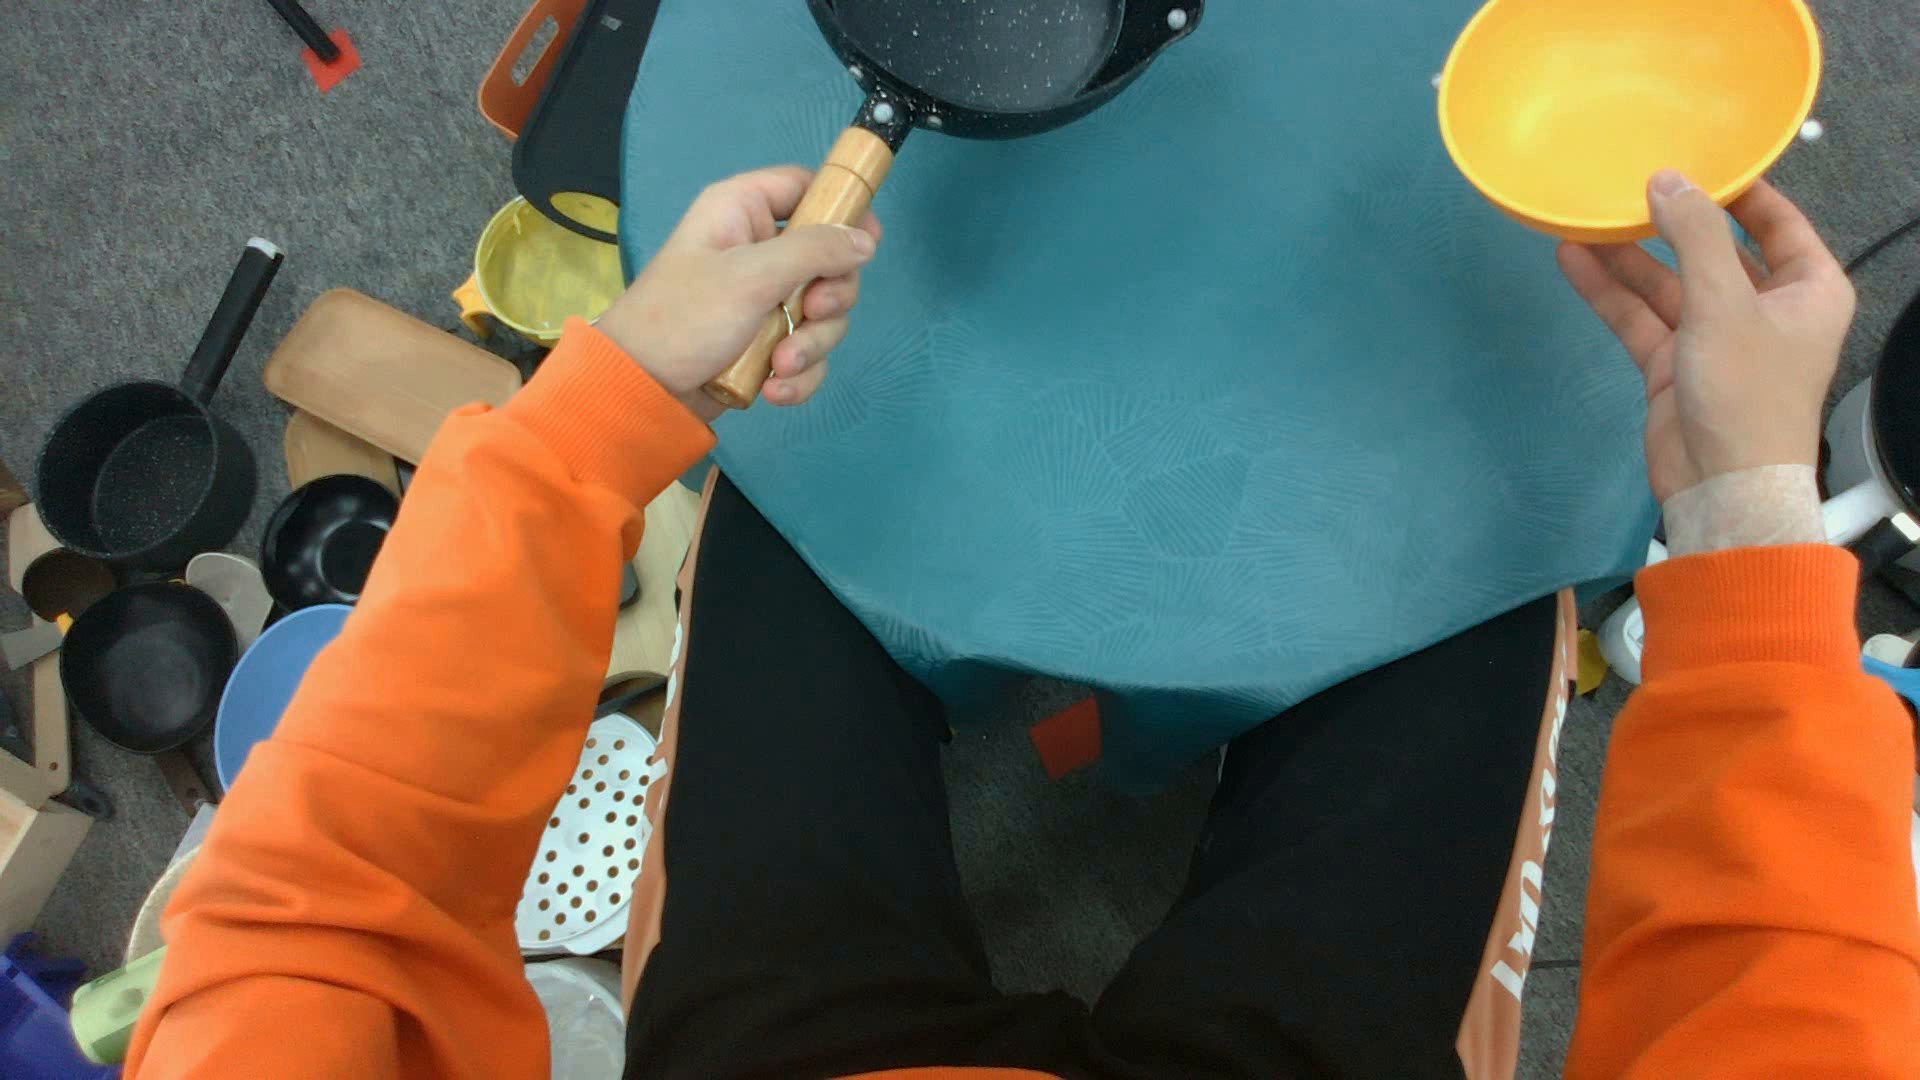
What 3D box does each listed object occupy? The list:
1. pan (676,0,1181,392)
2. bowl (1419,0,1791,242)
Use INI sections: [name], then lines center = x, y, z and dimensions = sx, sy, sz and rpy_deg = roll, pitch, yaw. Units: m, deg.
[pan]
center = -0.030, -0.210, 0.615
dimensions = 0.207, 0.108, 0.343
rpy_deg = 27, 84, -6
[bowl]
center = 0.283, -0.186, 0.613
dimensions = 0.145, 0.060, 0.146
rpy_deg = -10, 65, 22
